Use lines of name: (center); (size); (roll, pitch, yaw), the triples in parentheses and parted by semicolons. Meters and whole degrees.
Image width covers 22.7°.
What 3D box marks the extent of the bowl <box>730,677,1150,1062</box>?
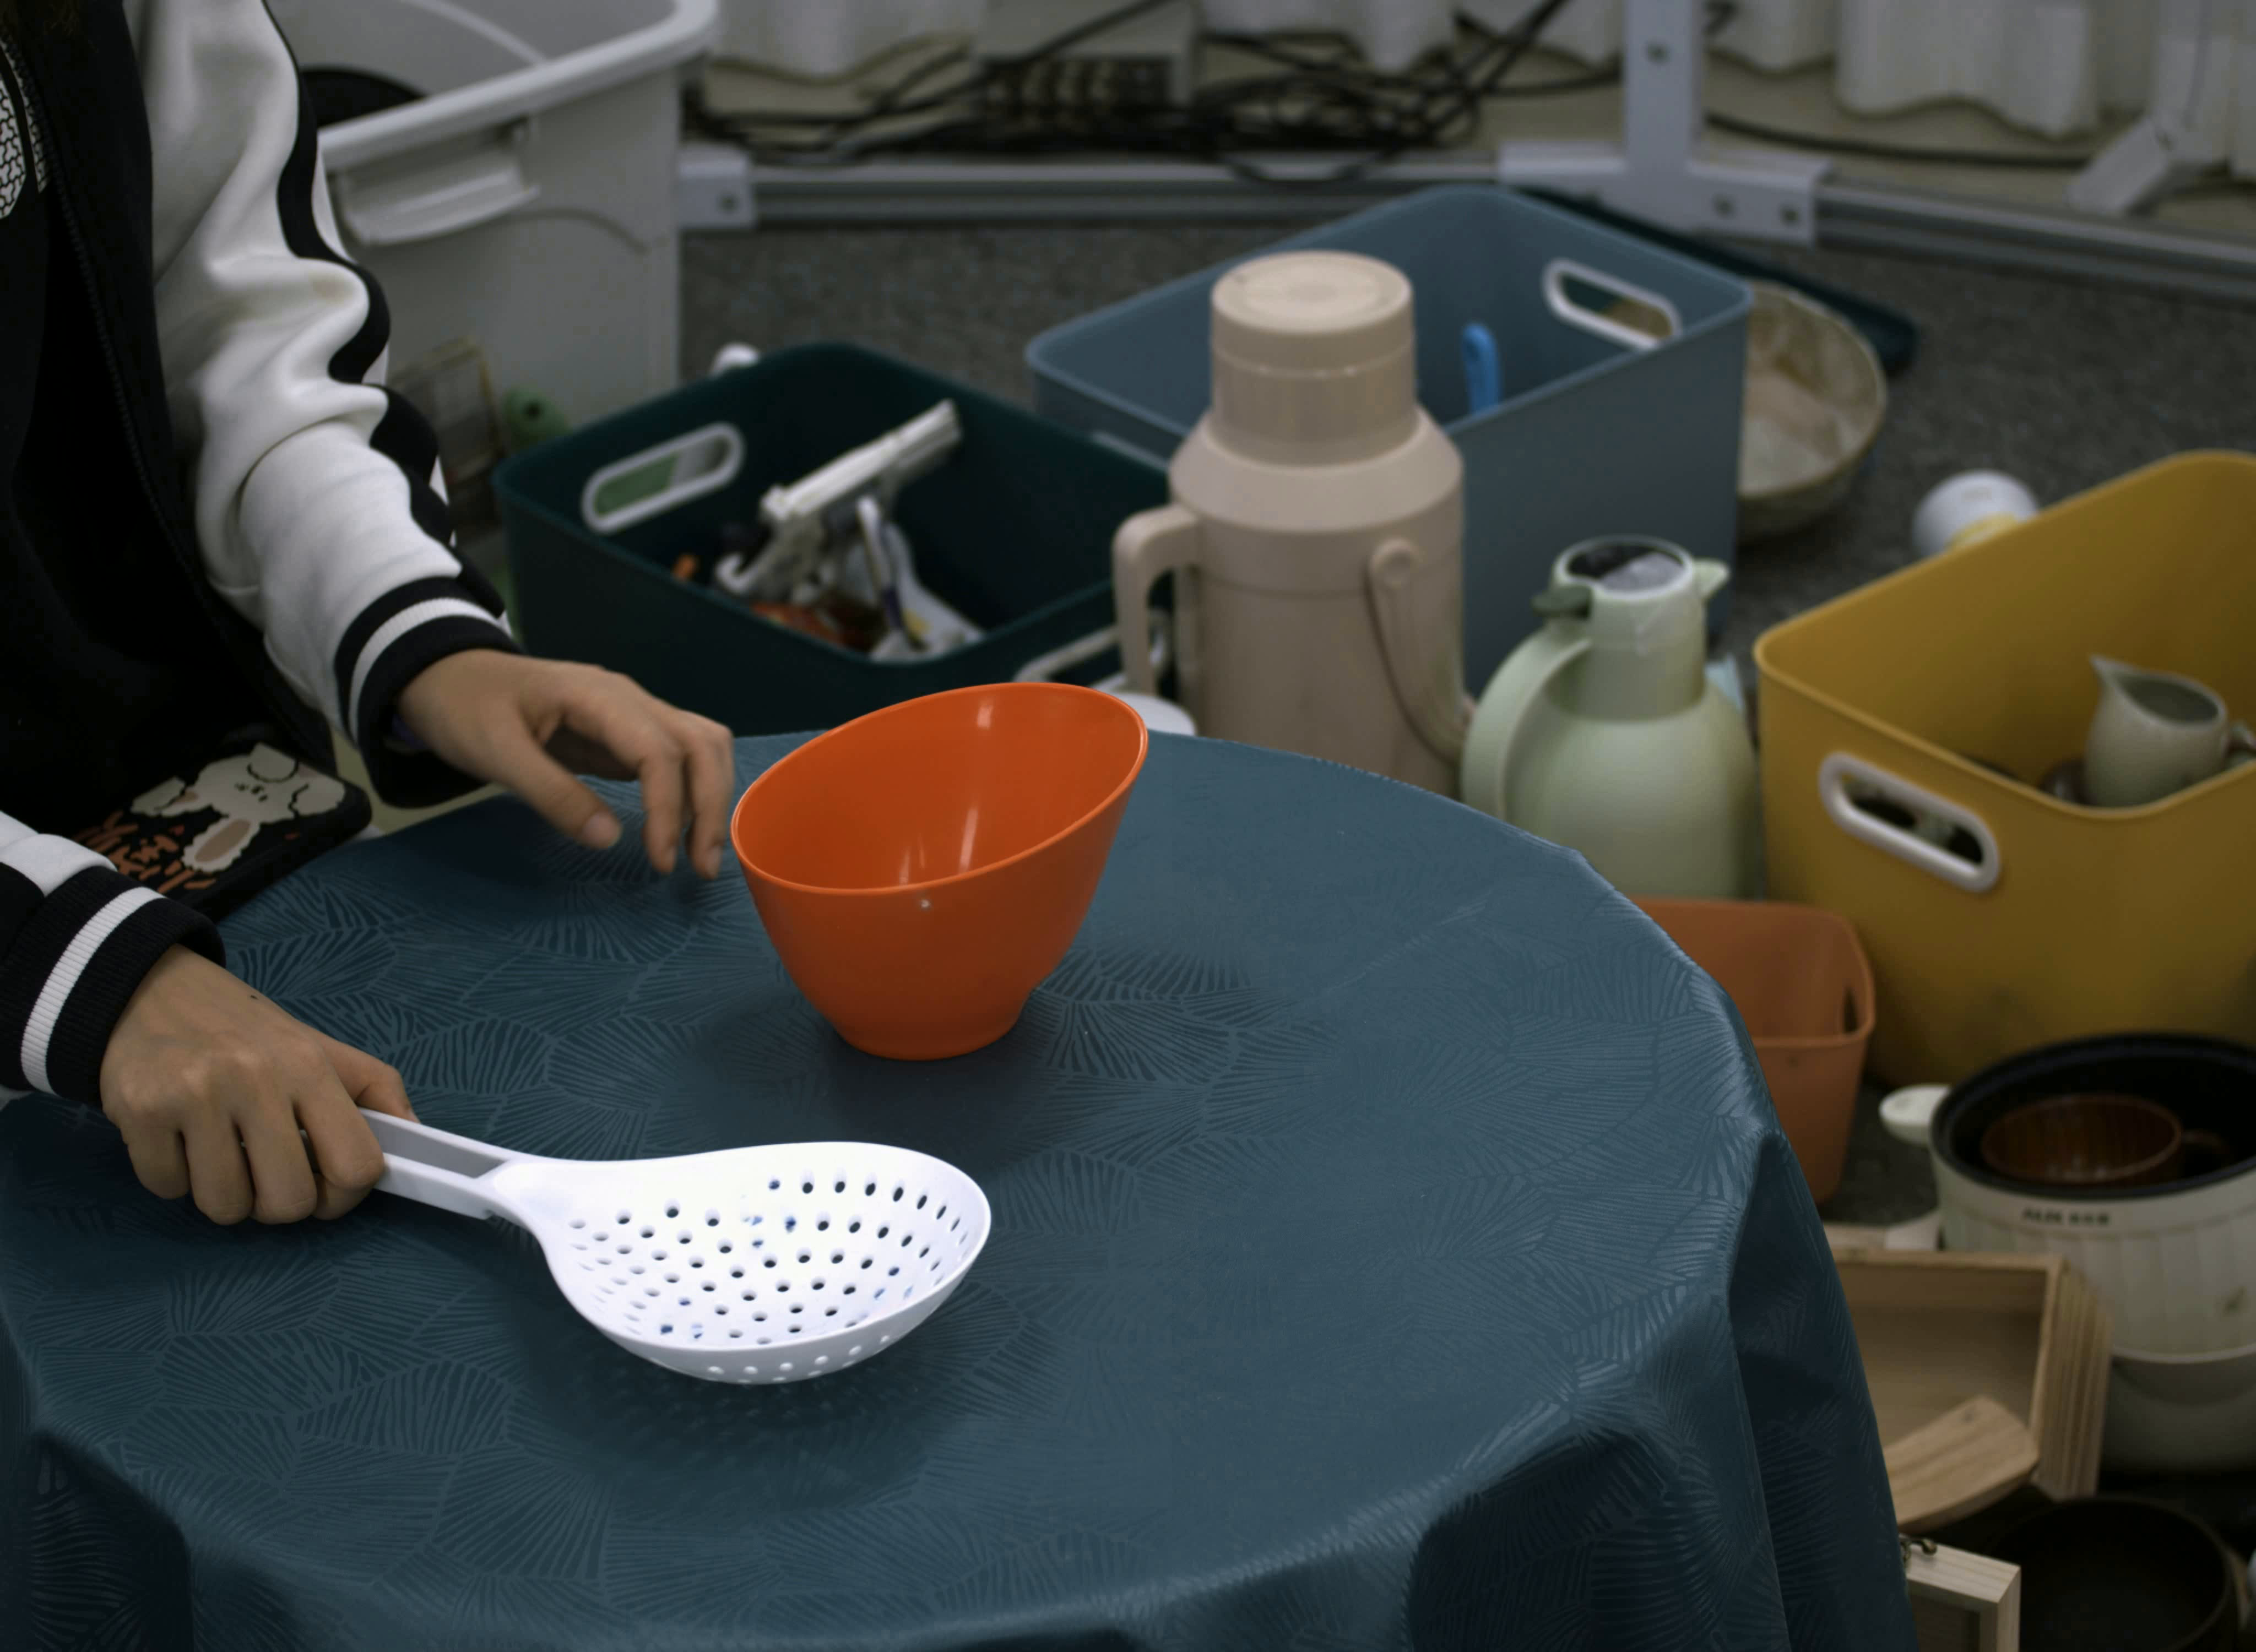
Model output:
bowl: (-0.062, 0.022, 1.950); (0.147, 0.103, 0.150); (-3, 30, 2)

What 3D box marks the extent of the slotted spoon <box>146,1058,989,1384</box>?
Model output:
slotted spoon: (-0.195, 0.120, 1.834); (0.348, 0.045, 0.138); (17, 31, 34)
